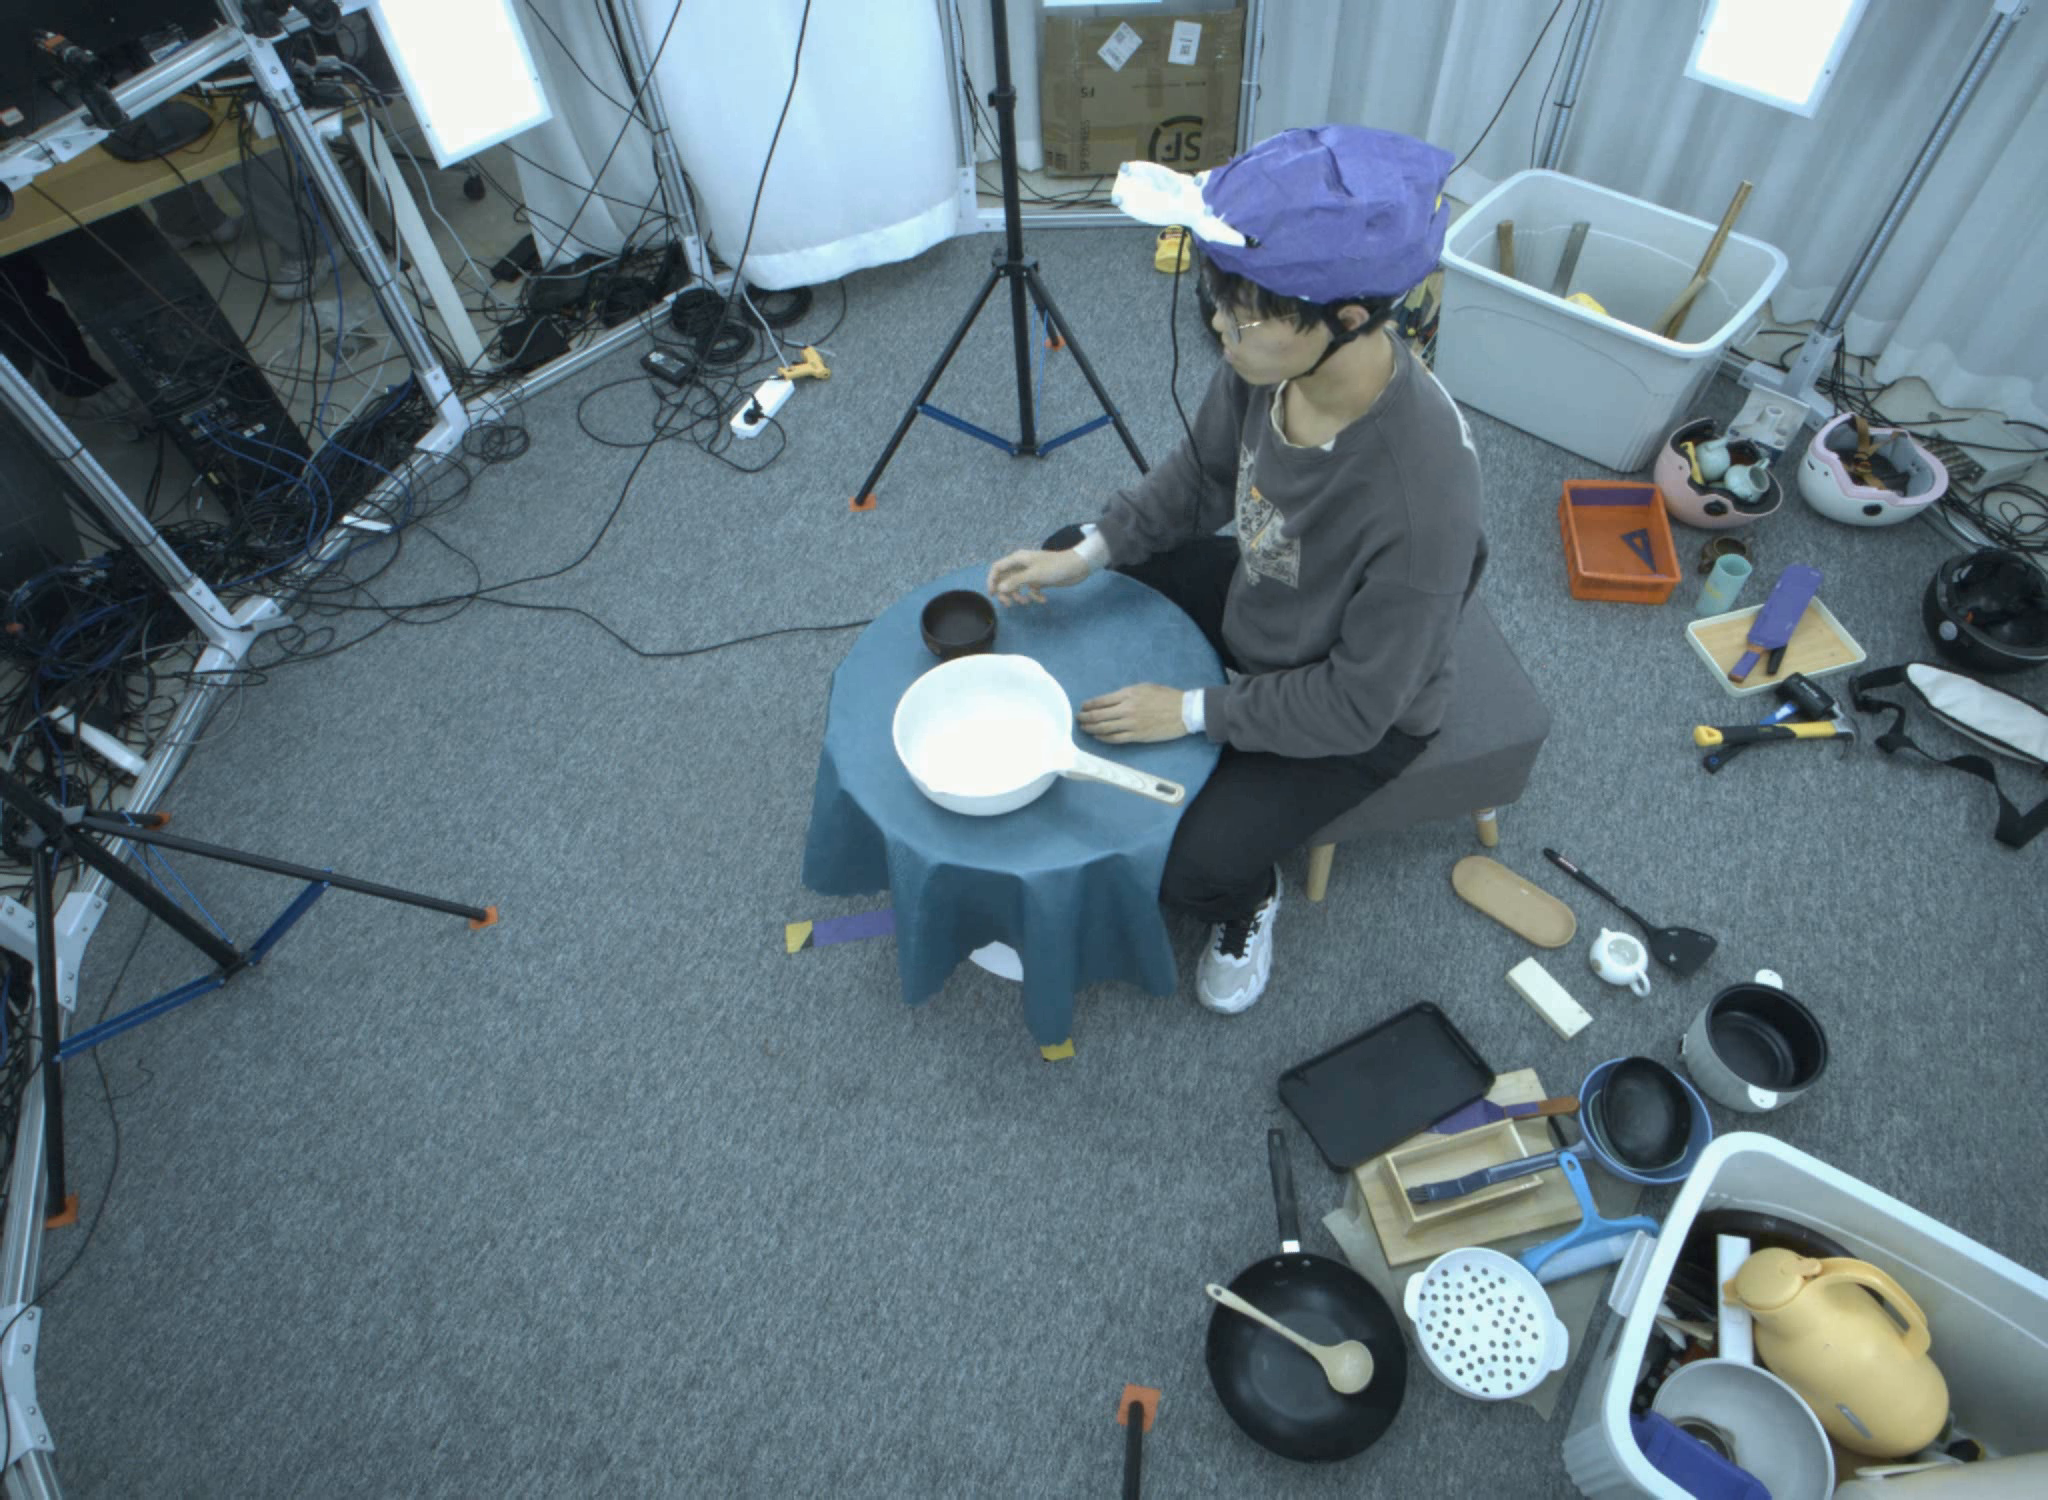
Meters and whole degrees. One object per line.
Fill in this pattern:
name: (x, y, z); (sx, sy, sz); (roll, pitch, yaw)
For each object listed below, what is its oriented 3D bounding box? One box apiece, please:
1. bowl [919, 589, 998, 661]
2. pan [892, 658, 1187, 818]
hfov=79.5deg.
bowl: (-0.099, -0.183, 1.876); (0.118, 0.070, 0.117); (0, 52, 2)
pan: (0.022, 0.017, 1.711); (0.429, 0.103, 0.264); (23, 56, 17)
